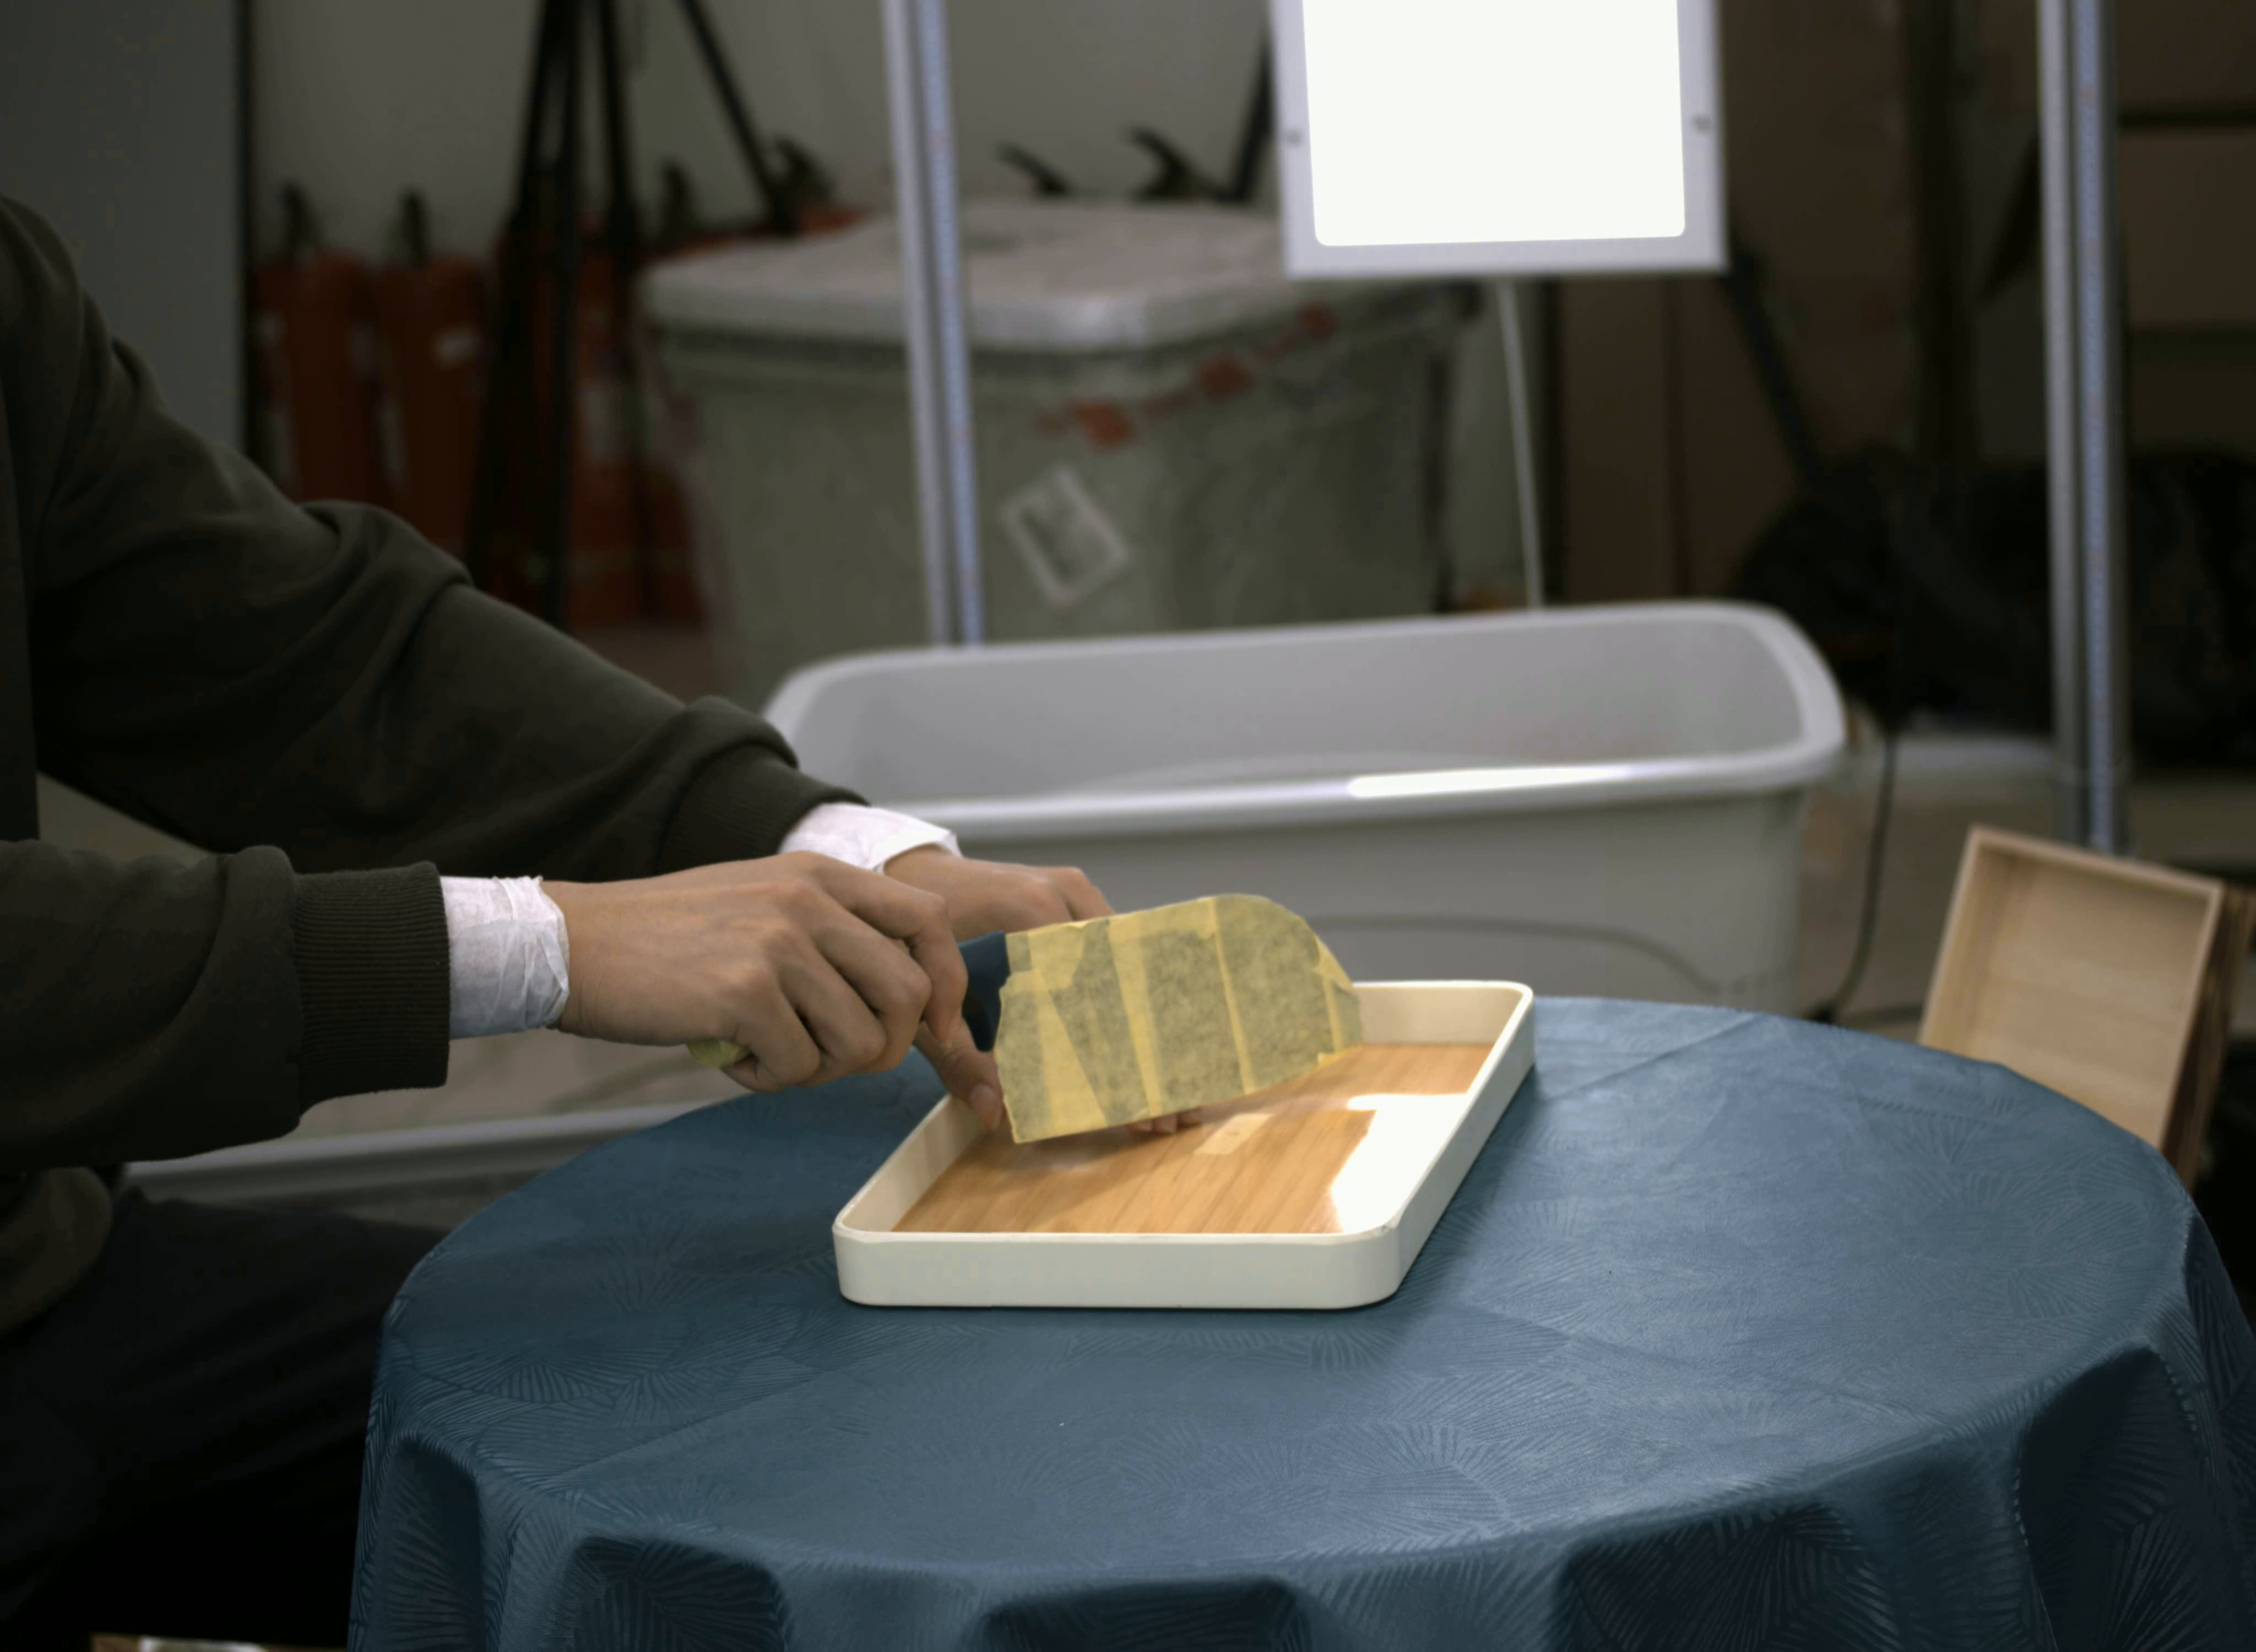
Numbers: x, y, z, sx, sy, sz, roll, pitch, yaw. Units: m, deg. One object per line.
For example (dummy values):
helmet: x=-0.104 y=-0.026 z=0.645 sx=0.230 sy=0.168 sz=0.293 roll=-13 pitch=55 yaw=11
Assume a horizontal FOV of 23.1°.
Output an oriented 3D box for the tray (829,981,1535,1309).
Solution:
tray: x=0.026 y=0.108 z=1.915 sx=0.193 sy=0.027 sz=0.296 roll=-2 pitch=14 yaw=16

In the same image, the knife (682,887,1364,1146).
knife: x=-0.029 y=0.069 z=1.913 sx=0.282 sy=0.081 sz=0.028 roll=-6 pitch=-8 yaw=-35
